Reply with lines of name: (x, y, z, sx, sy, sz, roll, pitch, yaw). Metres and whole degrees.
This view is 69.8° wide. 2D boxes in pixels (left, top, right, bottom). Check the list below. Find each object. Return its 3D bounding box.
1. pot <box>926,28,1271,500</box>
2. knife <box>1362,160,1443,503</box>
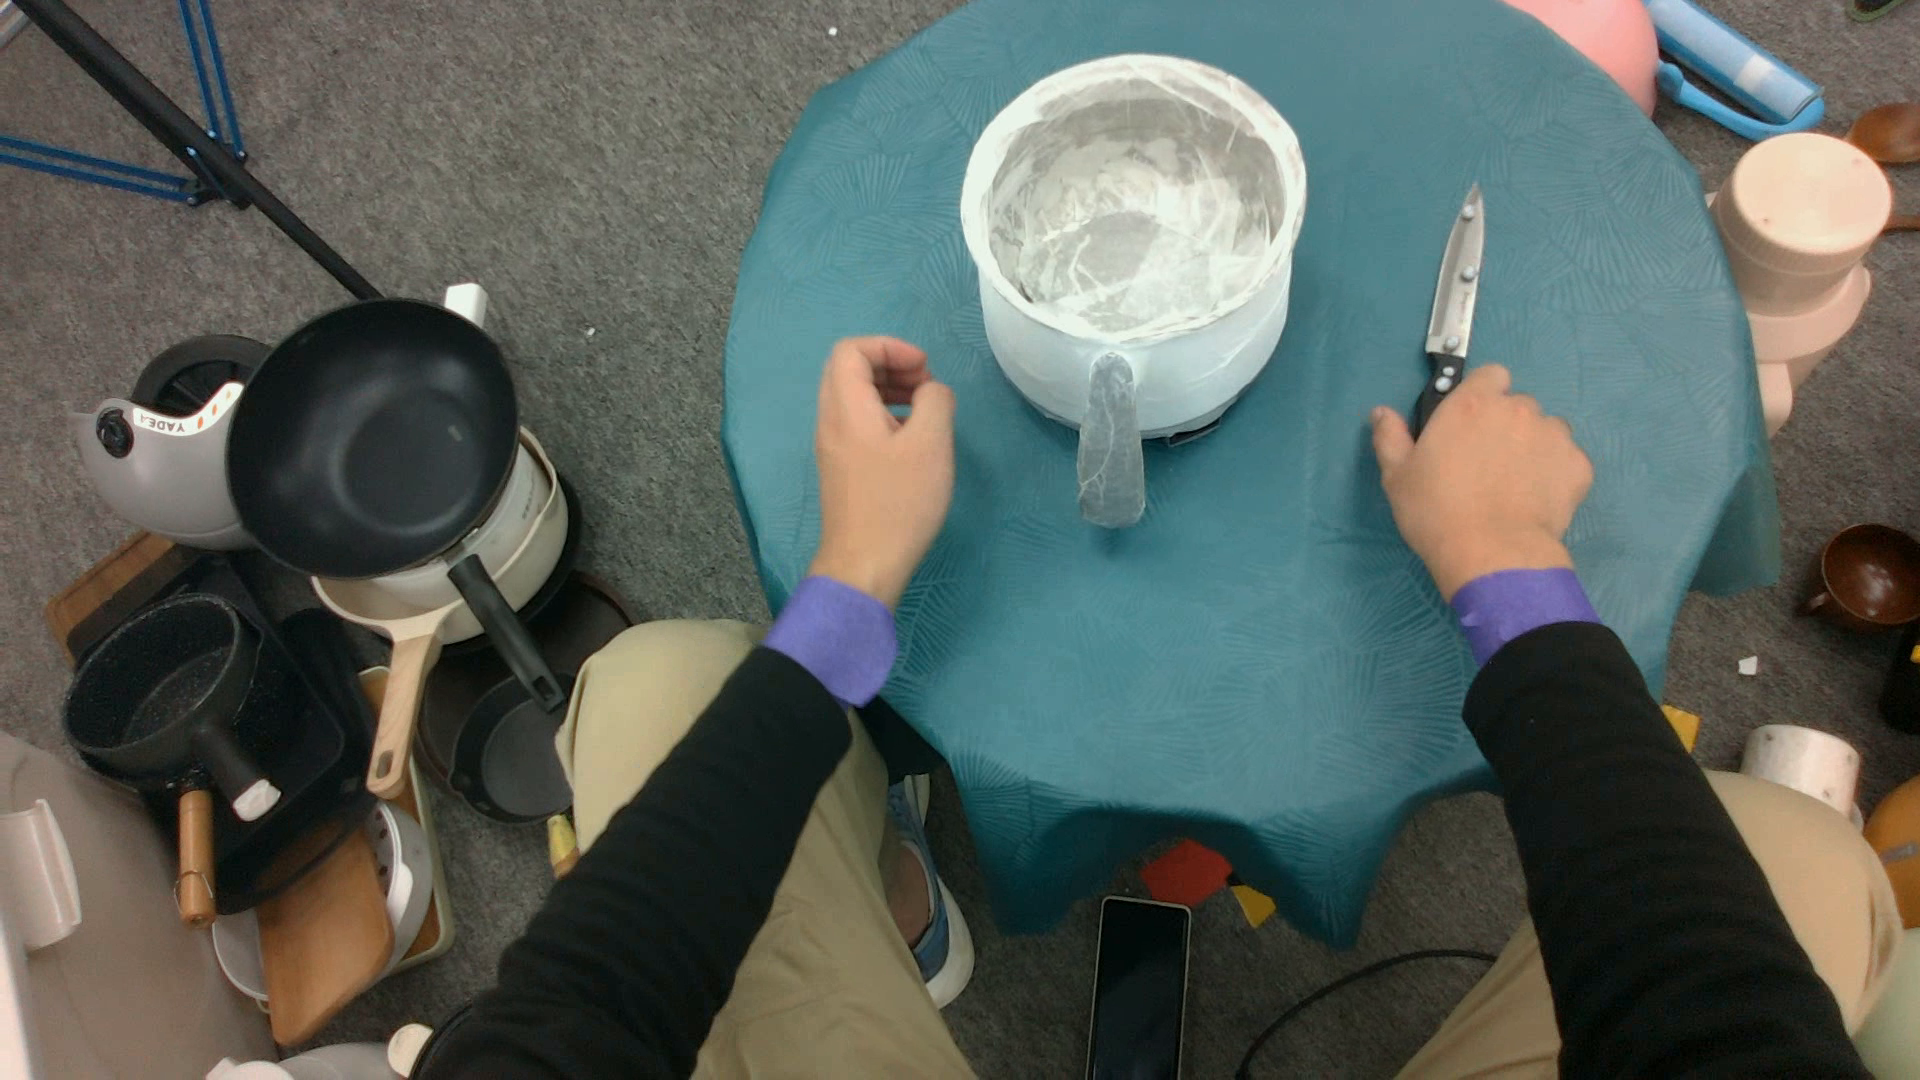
pot: (0.075, -0.145, 0.757, 0.178, 0.136, 0.234, 3, 68, 9)
knife: (0.262, -0.127, 0.799, 0.024, 0.016, 0.239, 11, 67, 13)
